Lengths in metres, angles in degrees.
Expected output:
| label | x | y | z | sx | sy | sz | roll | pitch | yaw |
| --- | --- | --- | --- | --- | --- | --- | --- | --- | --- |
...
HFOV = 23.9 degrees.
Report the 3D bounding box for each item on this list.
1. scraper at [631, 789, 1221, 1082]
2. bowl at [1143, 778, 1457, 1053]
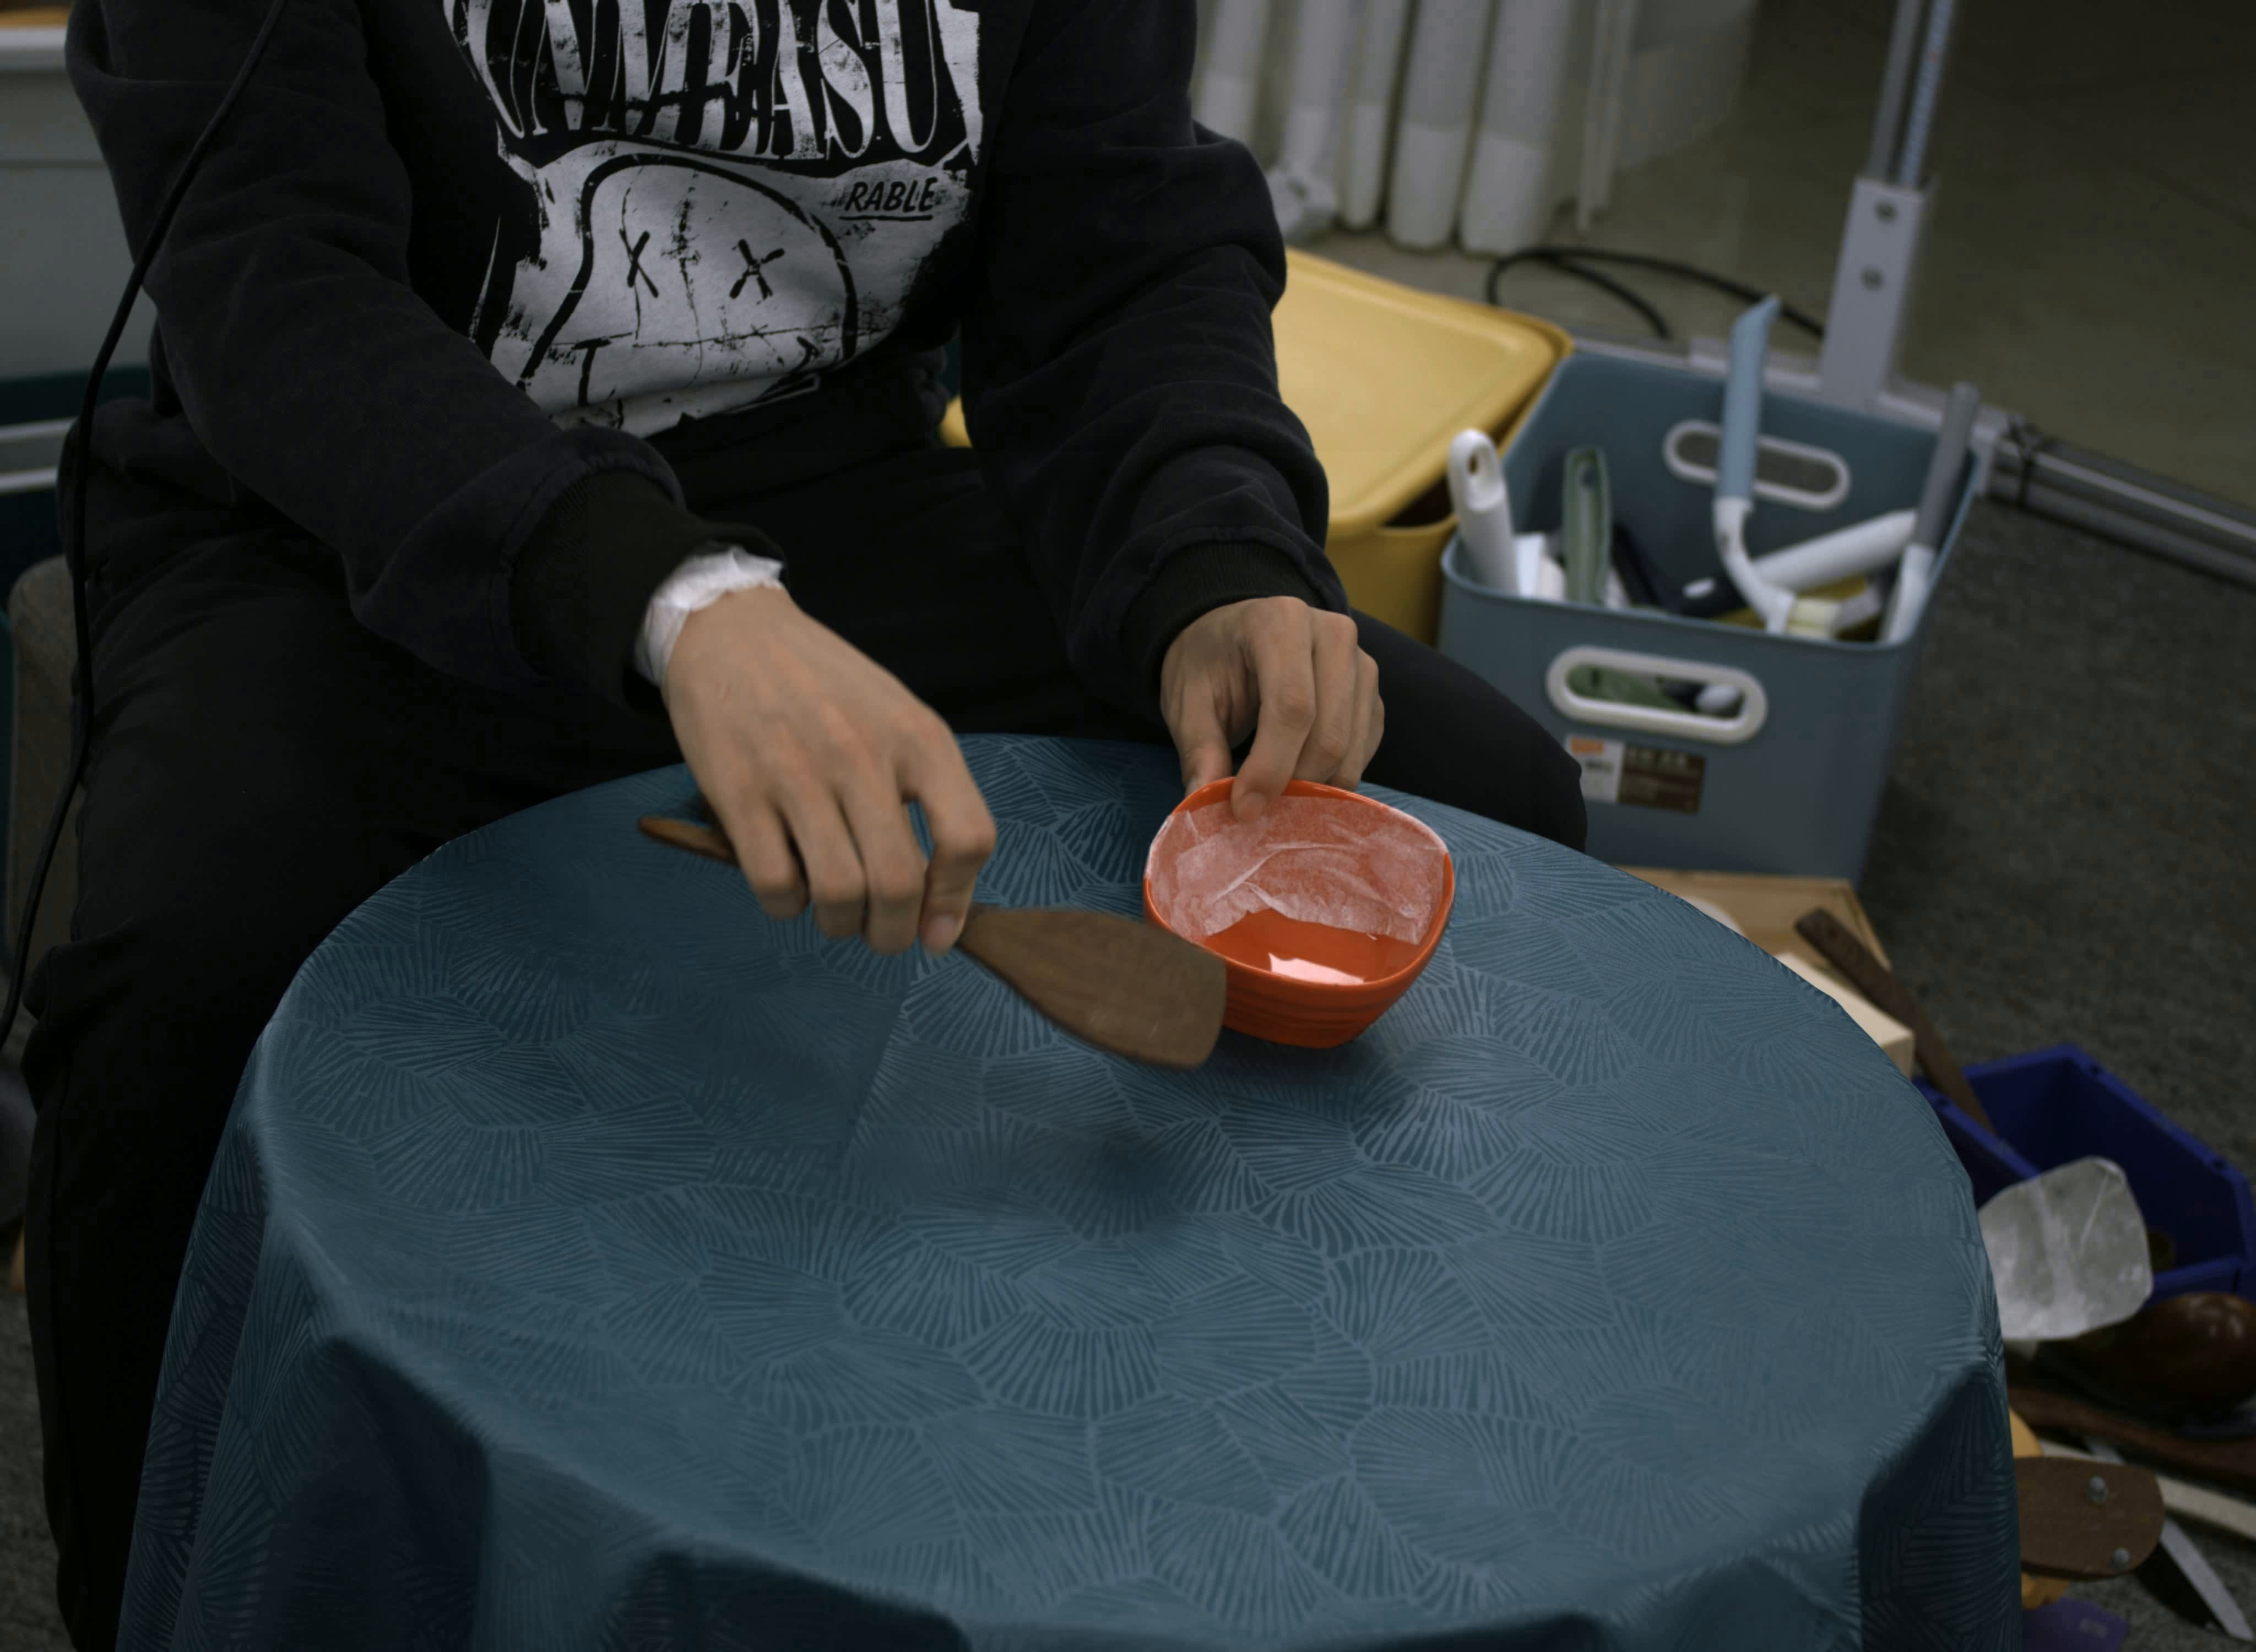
| label | x | y | z | sx | sy | sz | roll | pitch | yaw |
| --- | --- | --- | --- | --- | --- | --- | --- | --- | --- |
| scraper | -0.068 | 0.032 | 1.797 | 0.210 | 0.011 | 0.076 | 21 | 33 | -3 |
| bowl | 0.059 | 0.038 | 1.913 | 0.118 | 0.051 | 0.120 | 4 | 41 | -4 |
